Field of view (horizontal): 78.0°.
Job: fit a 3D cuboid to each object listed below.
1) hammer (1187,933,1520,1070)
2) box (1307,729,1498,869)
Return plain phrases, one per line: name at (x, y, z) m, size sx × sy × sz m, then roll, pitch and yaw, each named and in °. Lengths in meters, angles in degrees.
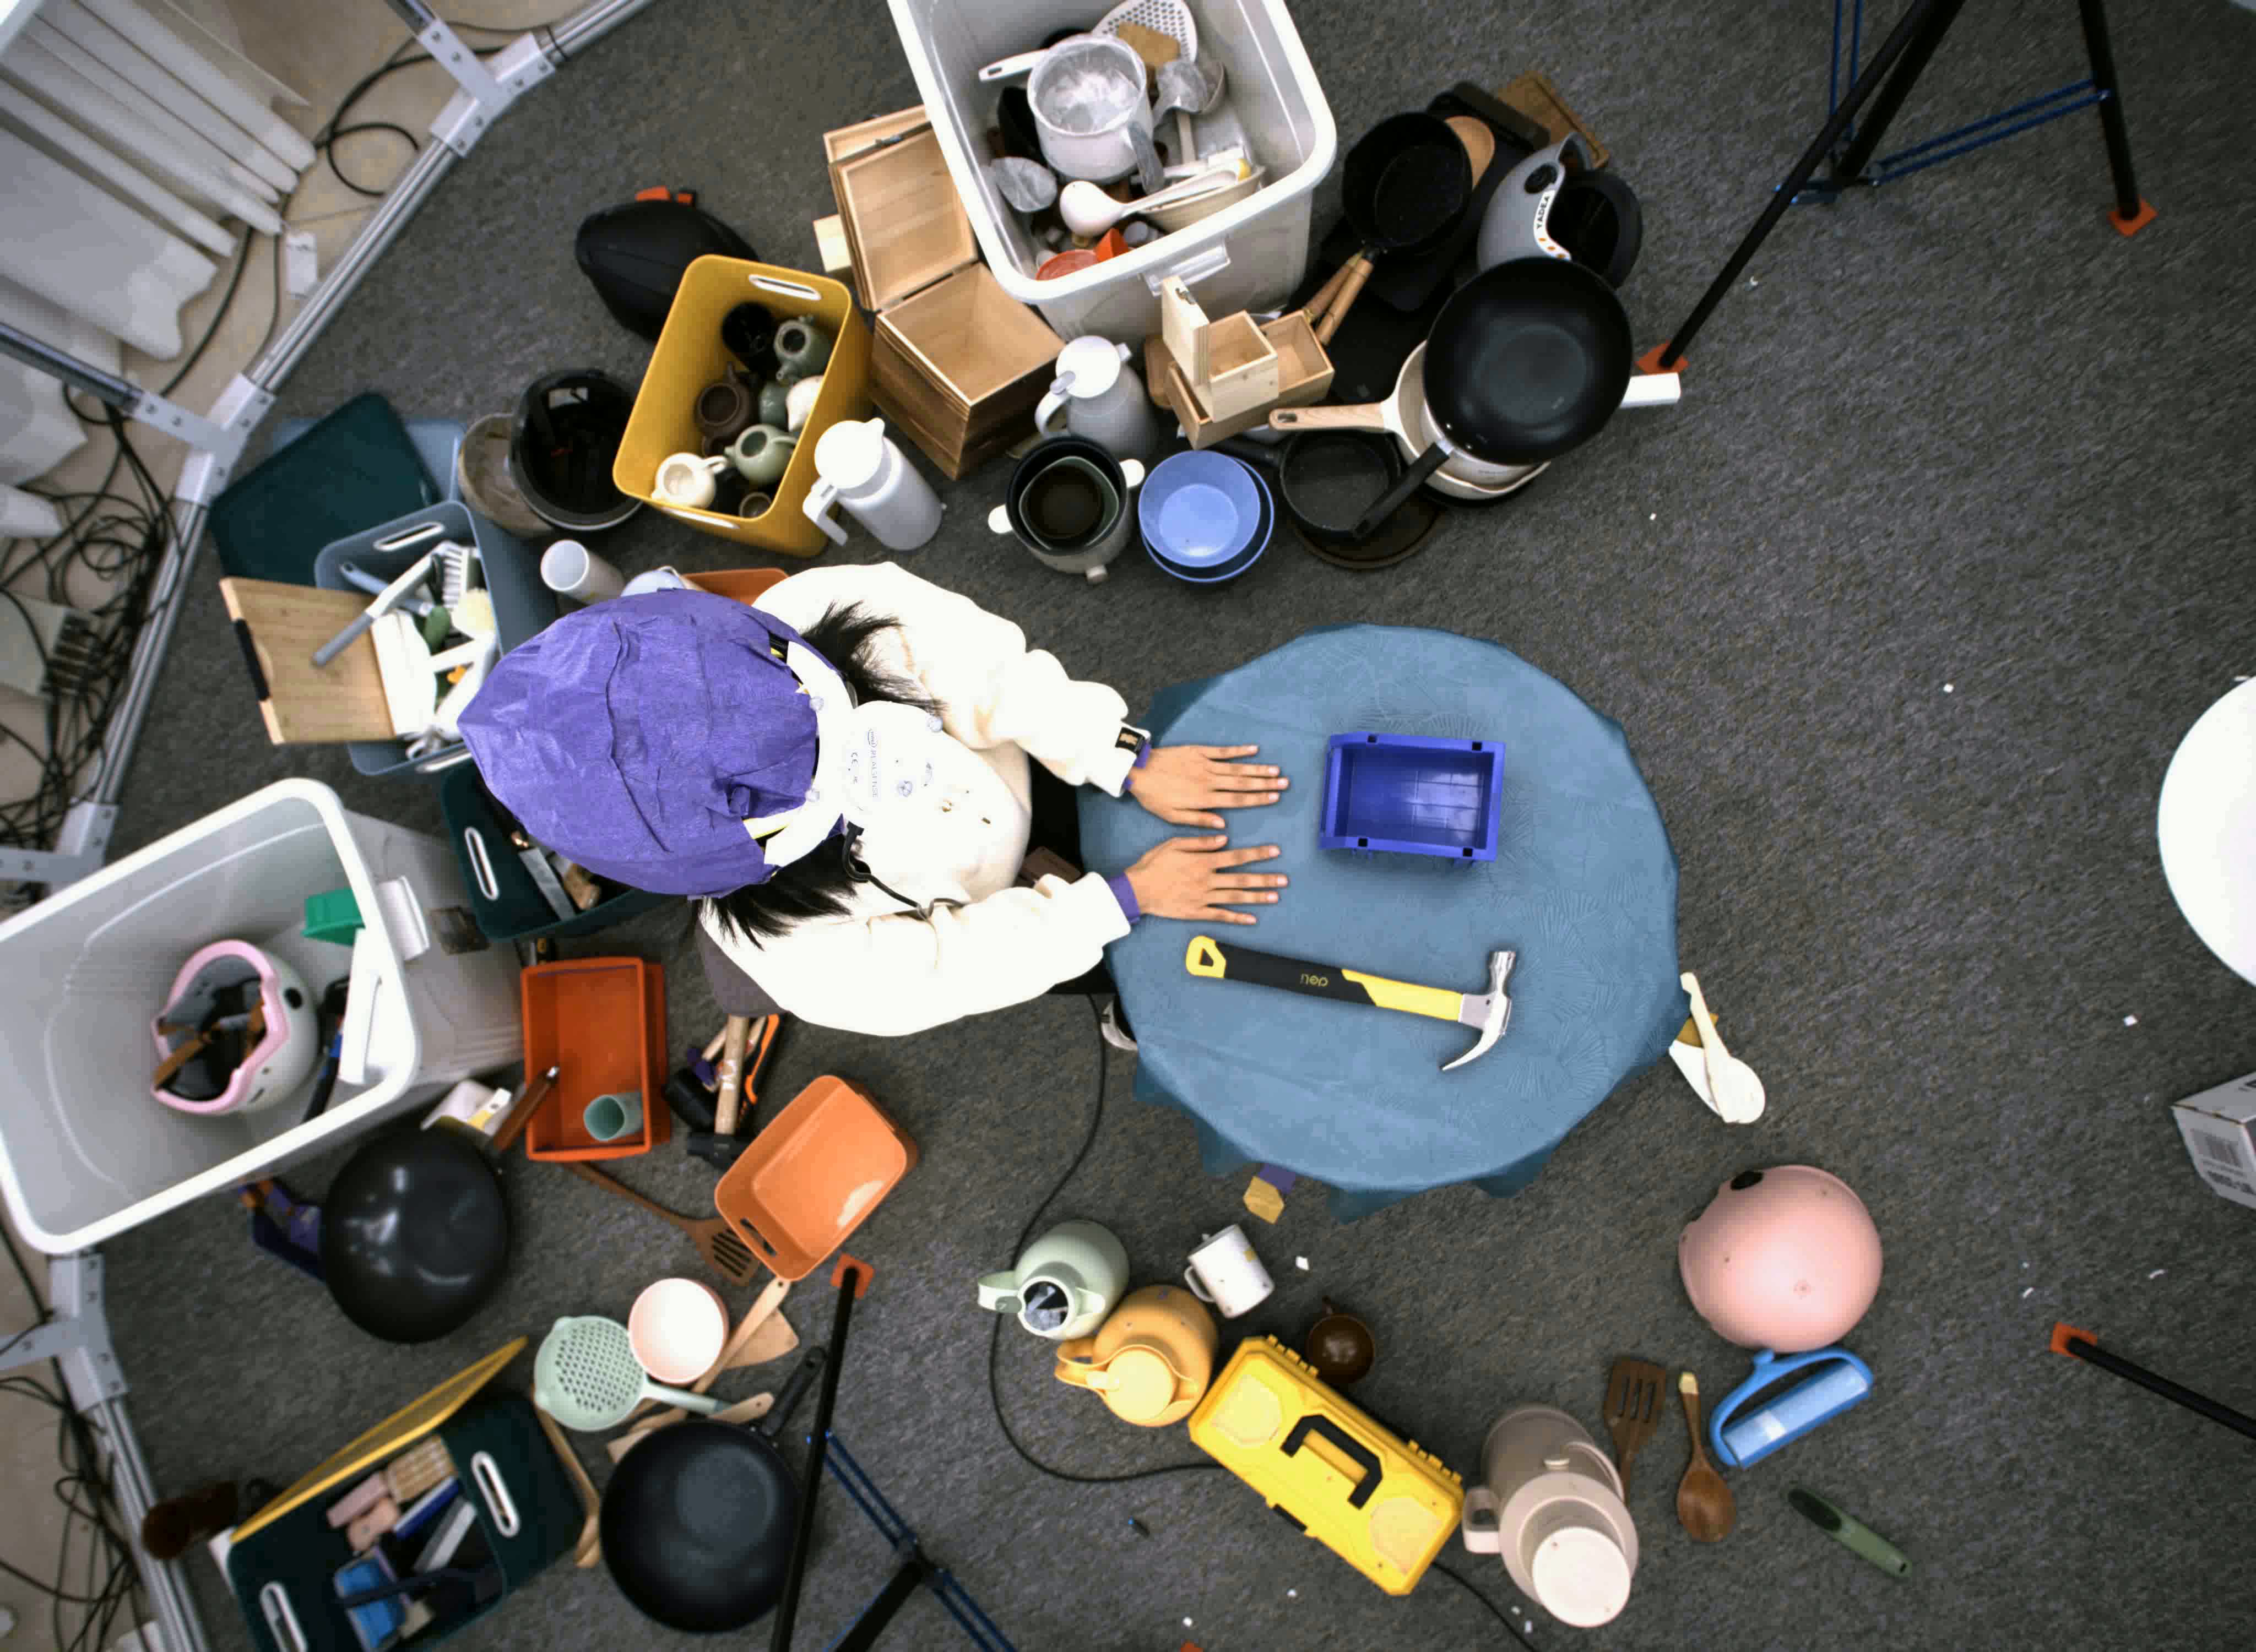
hammer at (0.228, 0.163, 1.445) m, size 0.339 × 0.032 × 0.131 m, roll 11°, pitch 90°, yaw 11°
box at (0.281, -0.028, 1.423) m, size 0.180 × 0.082 × 0.124 m, roll 6°, pitch 87°, yaw 9°
